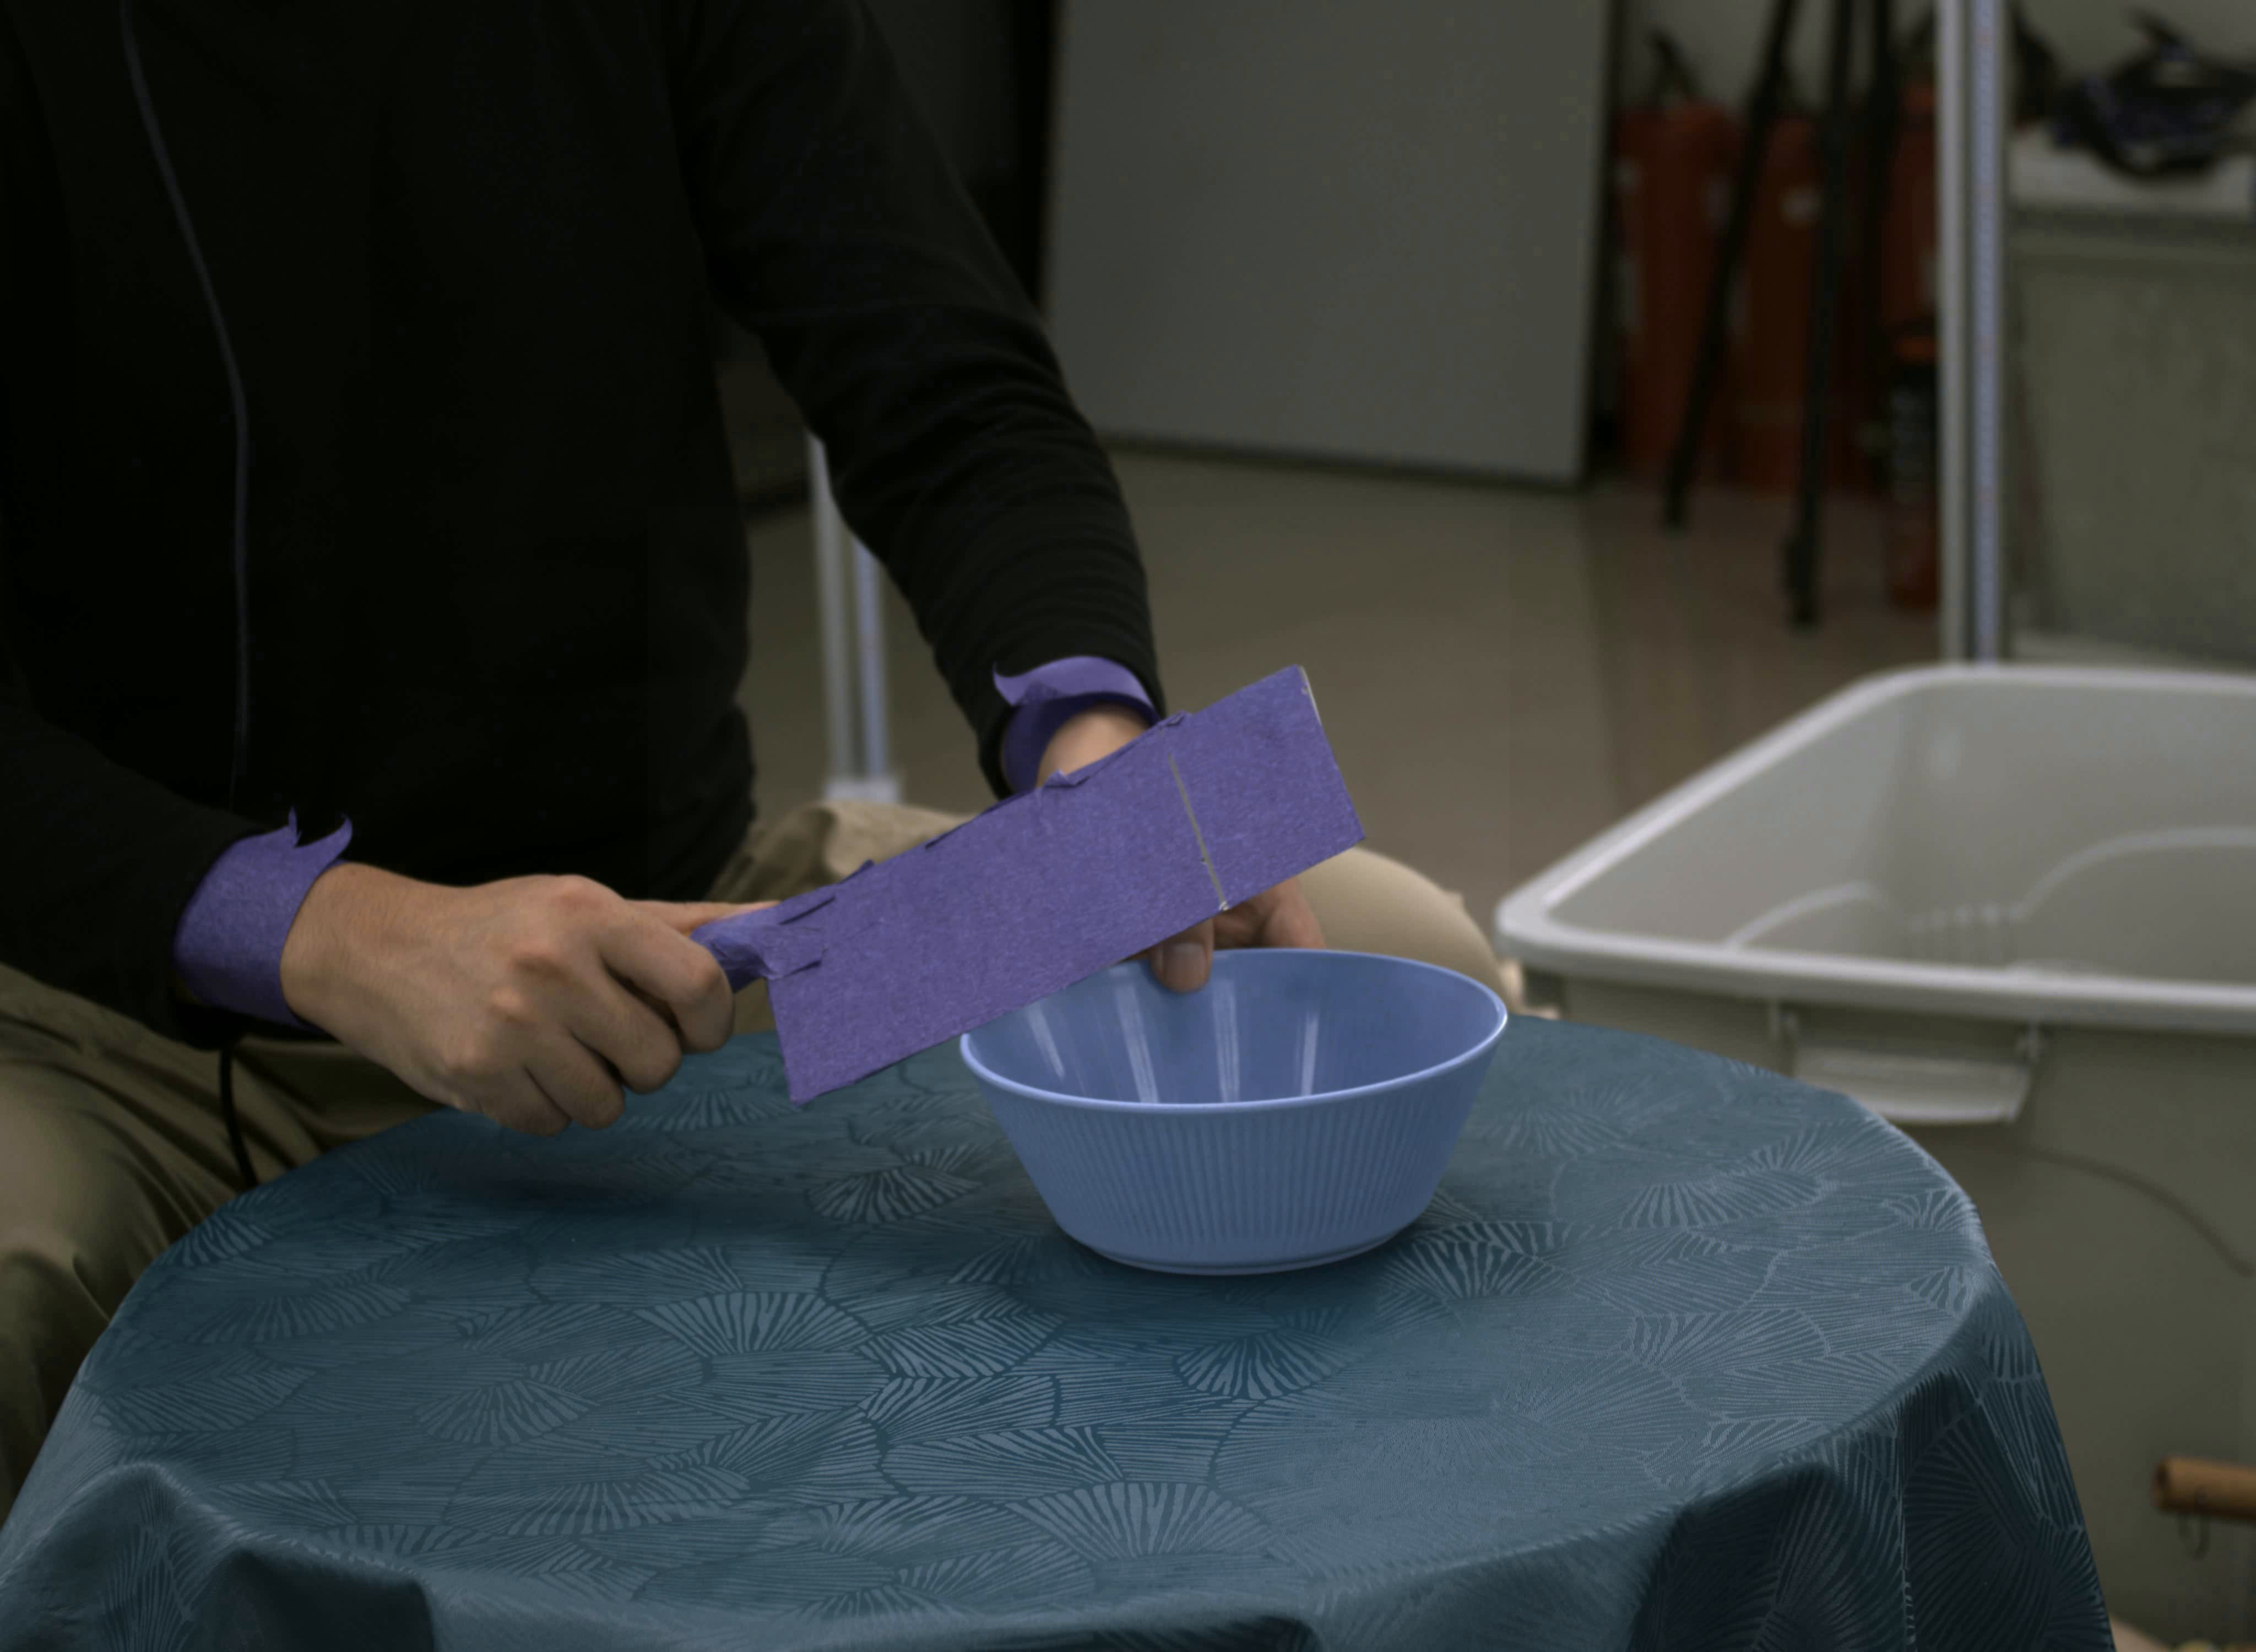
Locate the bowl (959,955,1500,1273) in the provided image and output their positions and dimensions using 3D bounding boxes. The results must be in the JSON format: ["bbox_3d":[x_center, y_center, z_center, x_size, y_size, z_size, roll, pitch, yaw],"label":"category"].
[{"bbox_3d":[0.034,0.094,1.724,0.174,0.071,0.176,-4,13,0],"label":"bowl"}]

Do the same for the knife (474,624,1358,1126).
[{"bbox_3d":[-0.072,0.035,1.766,0.314,0.032,0.105,-28,40,11],"label":"knife"}]
